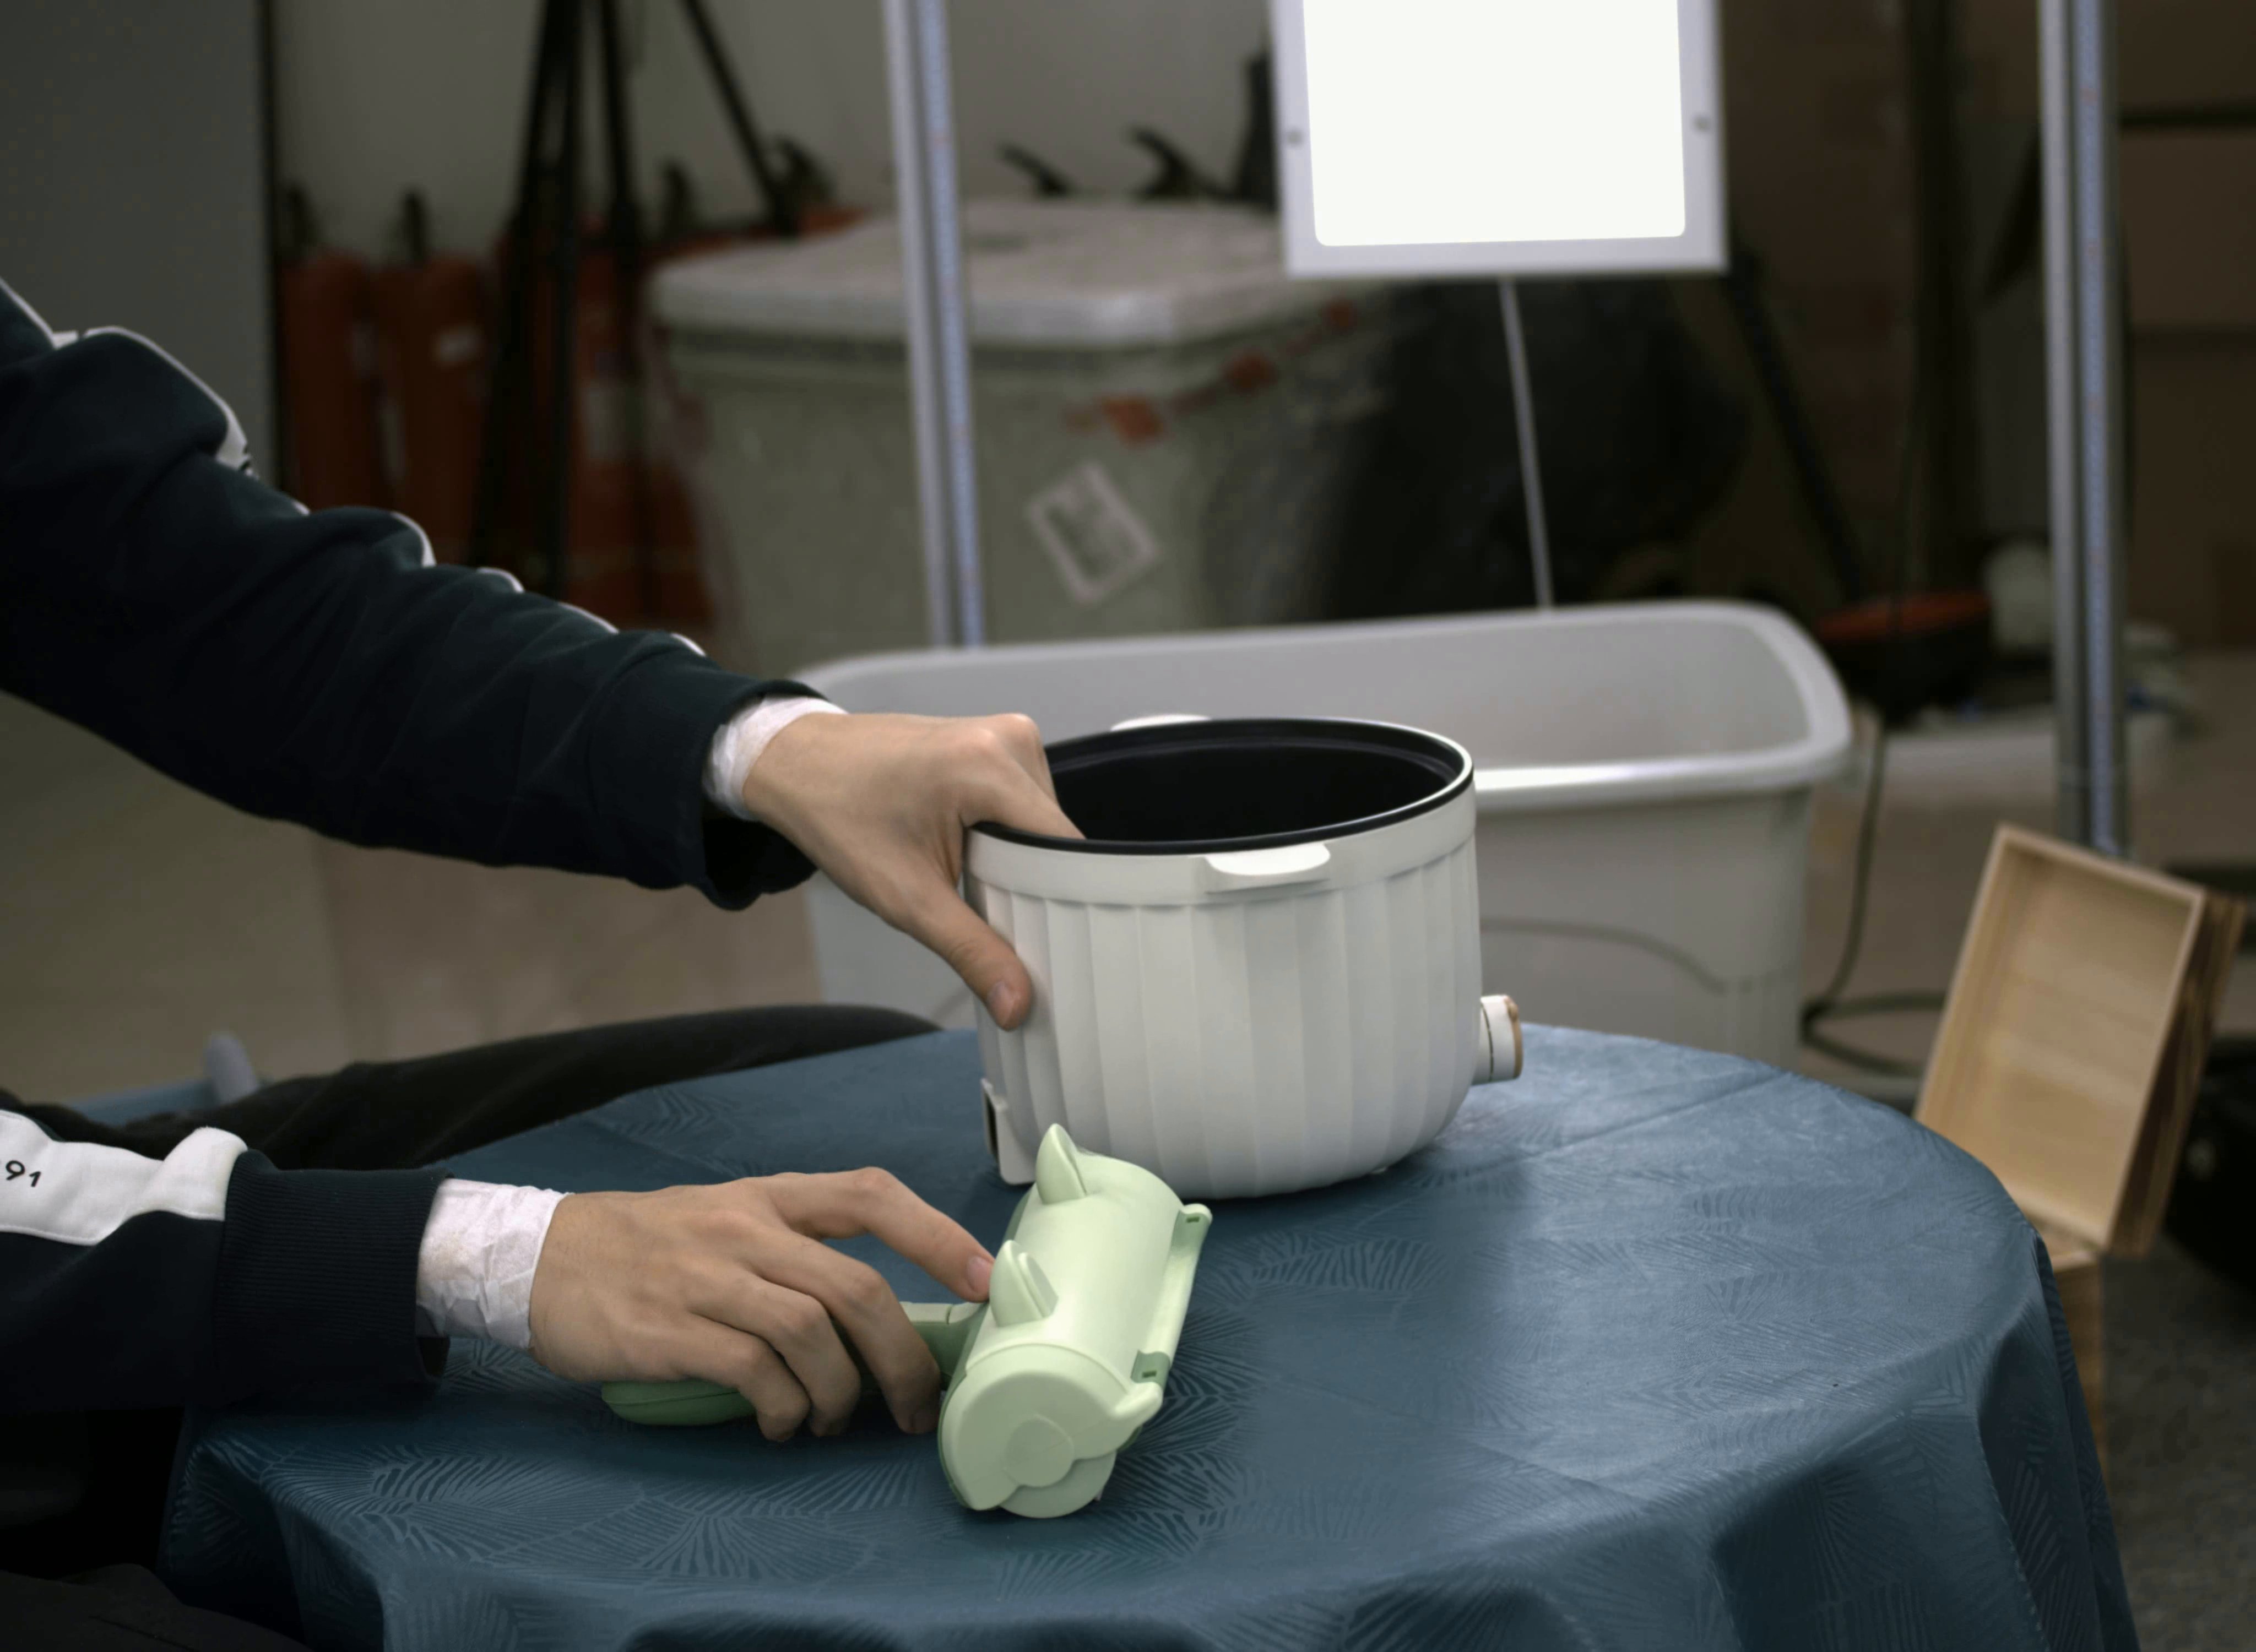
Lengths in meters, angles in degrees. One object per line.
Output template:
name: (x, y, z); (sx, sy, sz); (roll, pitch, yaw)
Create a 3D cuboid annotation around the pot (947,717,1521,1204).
pot: (0.038, 0.047, 1.915); (0.189, 0.143, 0.241); (-10, 15, -7)

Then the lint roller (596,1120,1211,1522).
lint roller: (-0.073, 0.145, 1.688); (0.184, 0.082, 0.197); (2, 15, 7)
